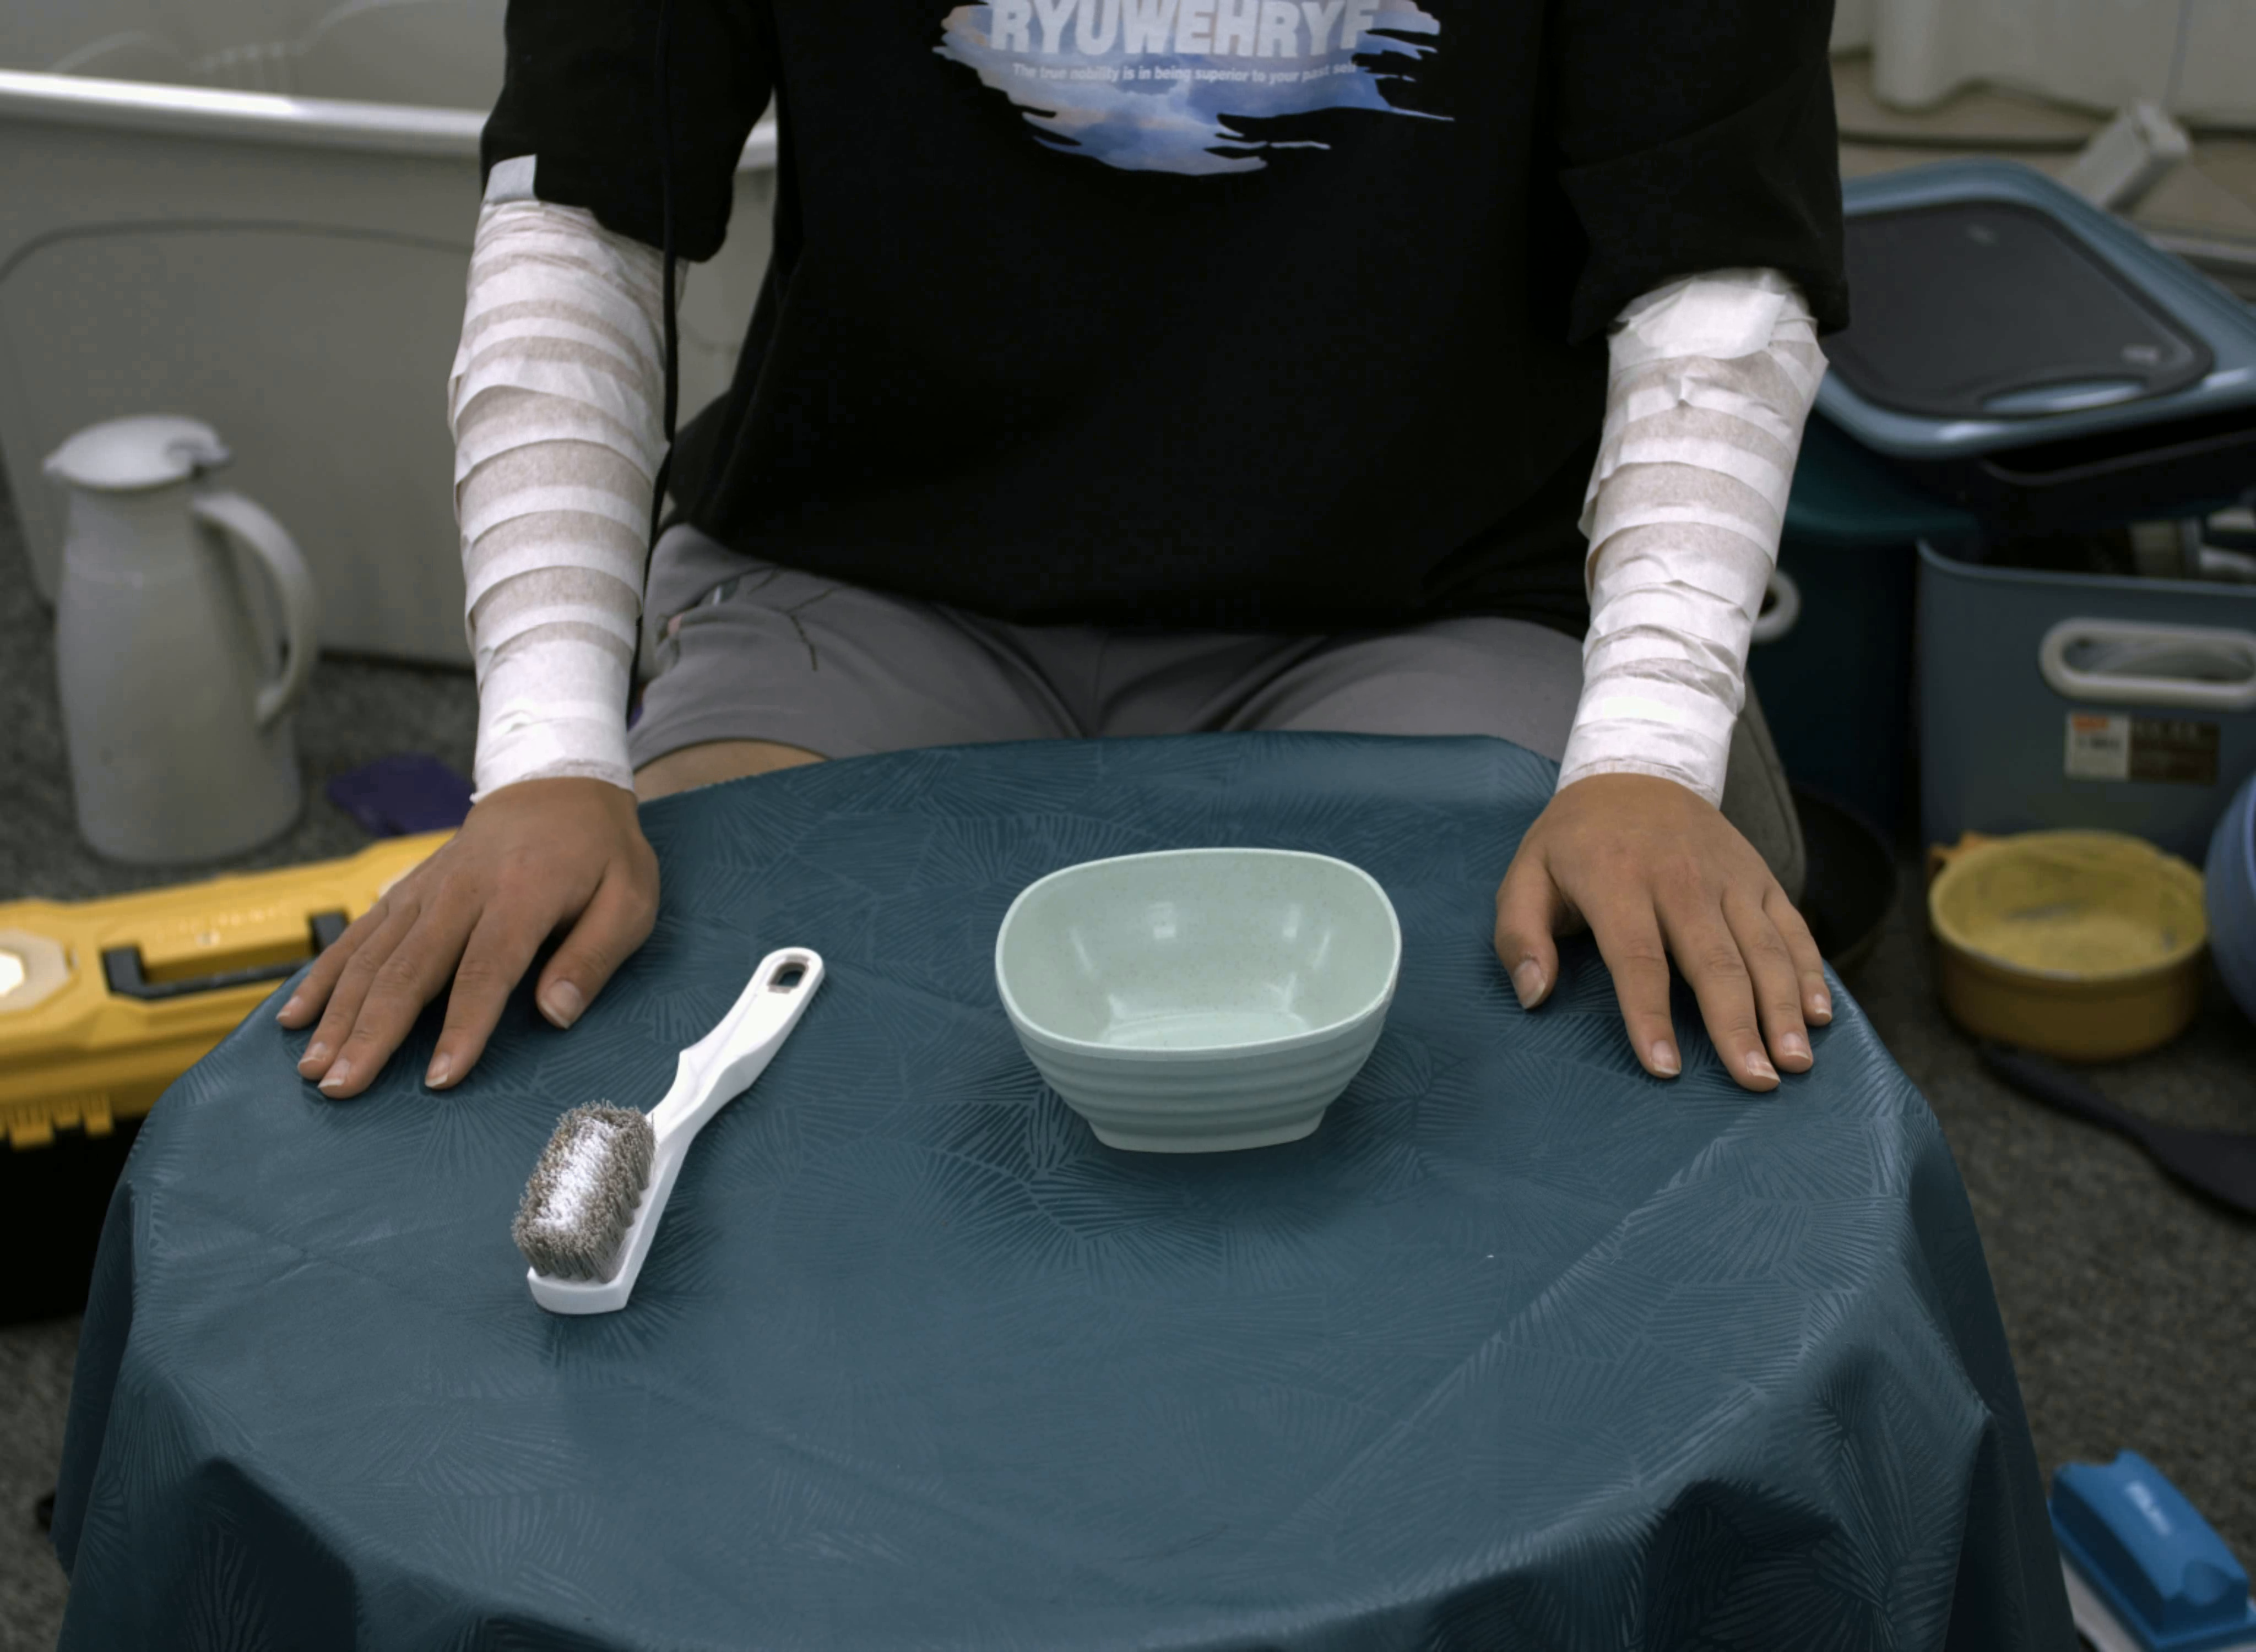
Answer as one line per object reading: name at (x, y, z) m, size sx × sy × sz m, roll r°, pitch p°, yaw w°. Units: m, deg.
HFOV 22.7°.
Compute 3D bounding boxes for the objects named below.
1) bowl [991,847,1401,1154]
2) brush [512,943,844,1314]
bowl at (0.024, 0.065, 1.908) m, size 0.151 × 0.058 × 0.154 m, roll -1°, pitch 28°, yaw 1°
brush at (-0.148, 0.085, 1.892) m, size 0.034 × 0.049 × 0.248 m, roll 6°, pitch 29°, yaw 17°
